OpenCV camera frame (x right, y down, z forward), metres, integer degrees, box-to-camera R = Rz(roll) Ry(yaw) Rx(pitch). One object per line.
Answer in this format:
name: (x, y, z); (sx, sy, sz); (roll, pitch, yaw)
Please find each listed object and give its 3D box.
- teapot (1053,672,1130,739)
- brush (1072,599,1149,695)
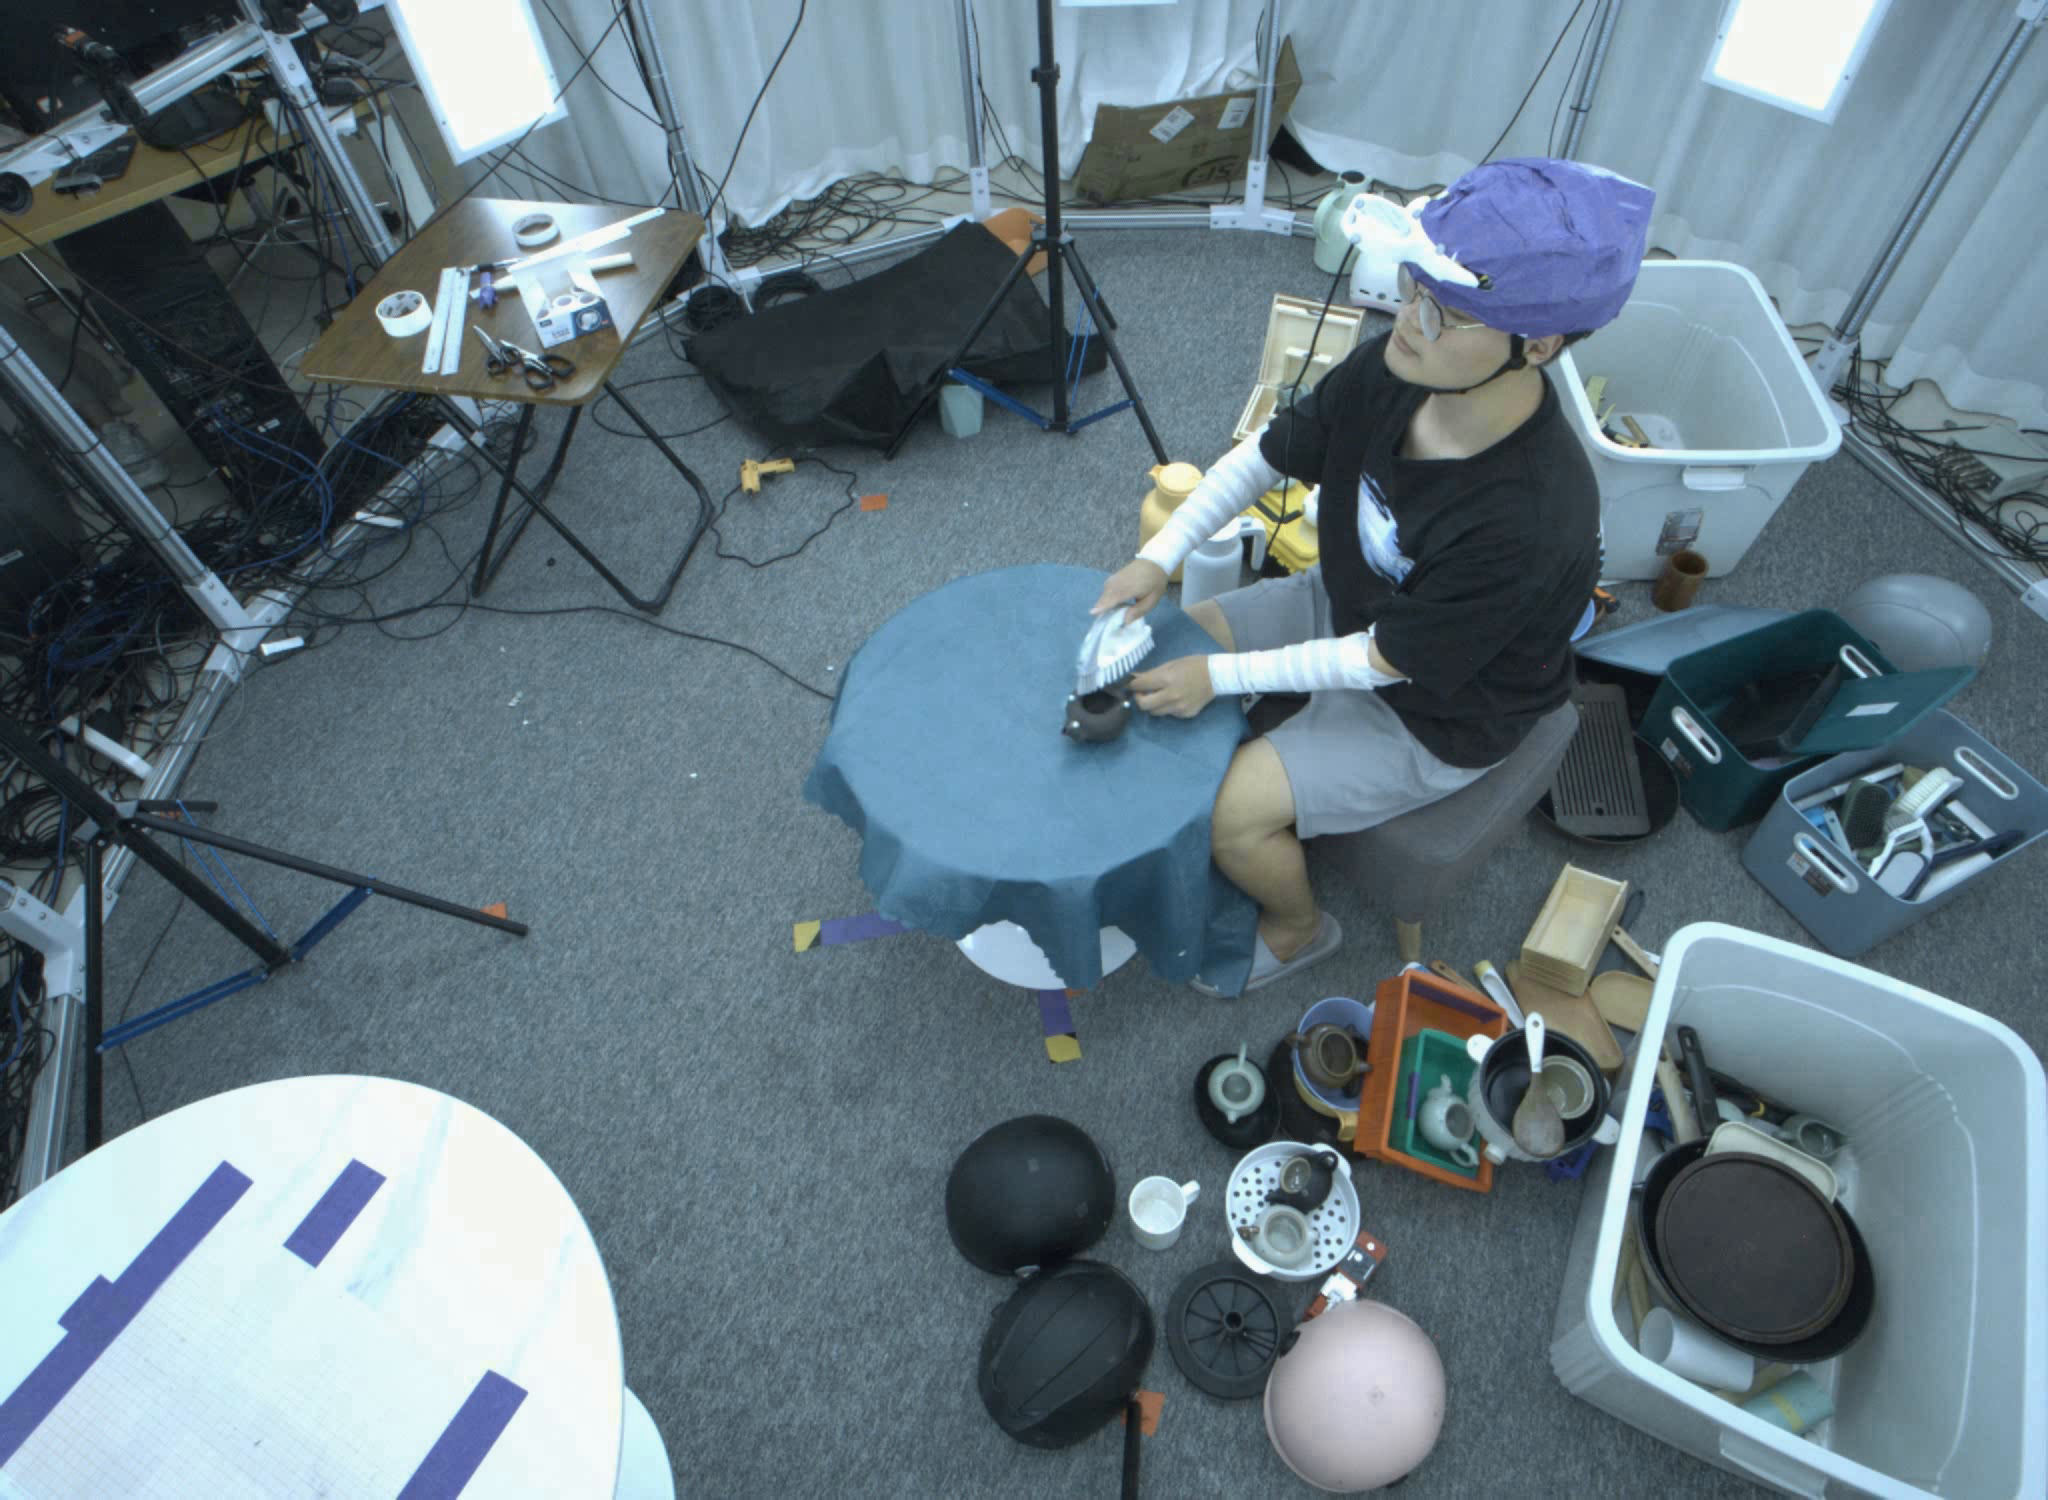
teapot: (0.097, -0.061, 1.778); (0.155, 0.065, 0.090); (-40, 62, -22)
brush: (0.114, -0.155, 1.772); (0.060, 0.095, 0.177); (8, 35, 34)
